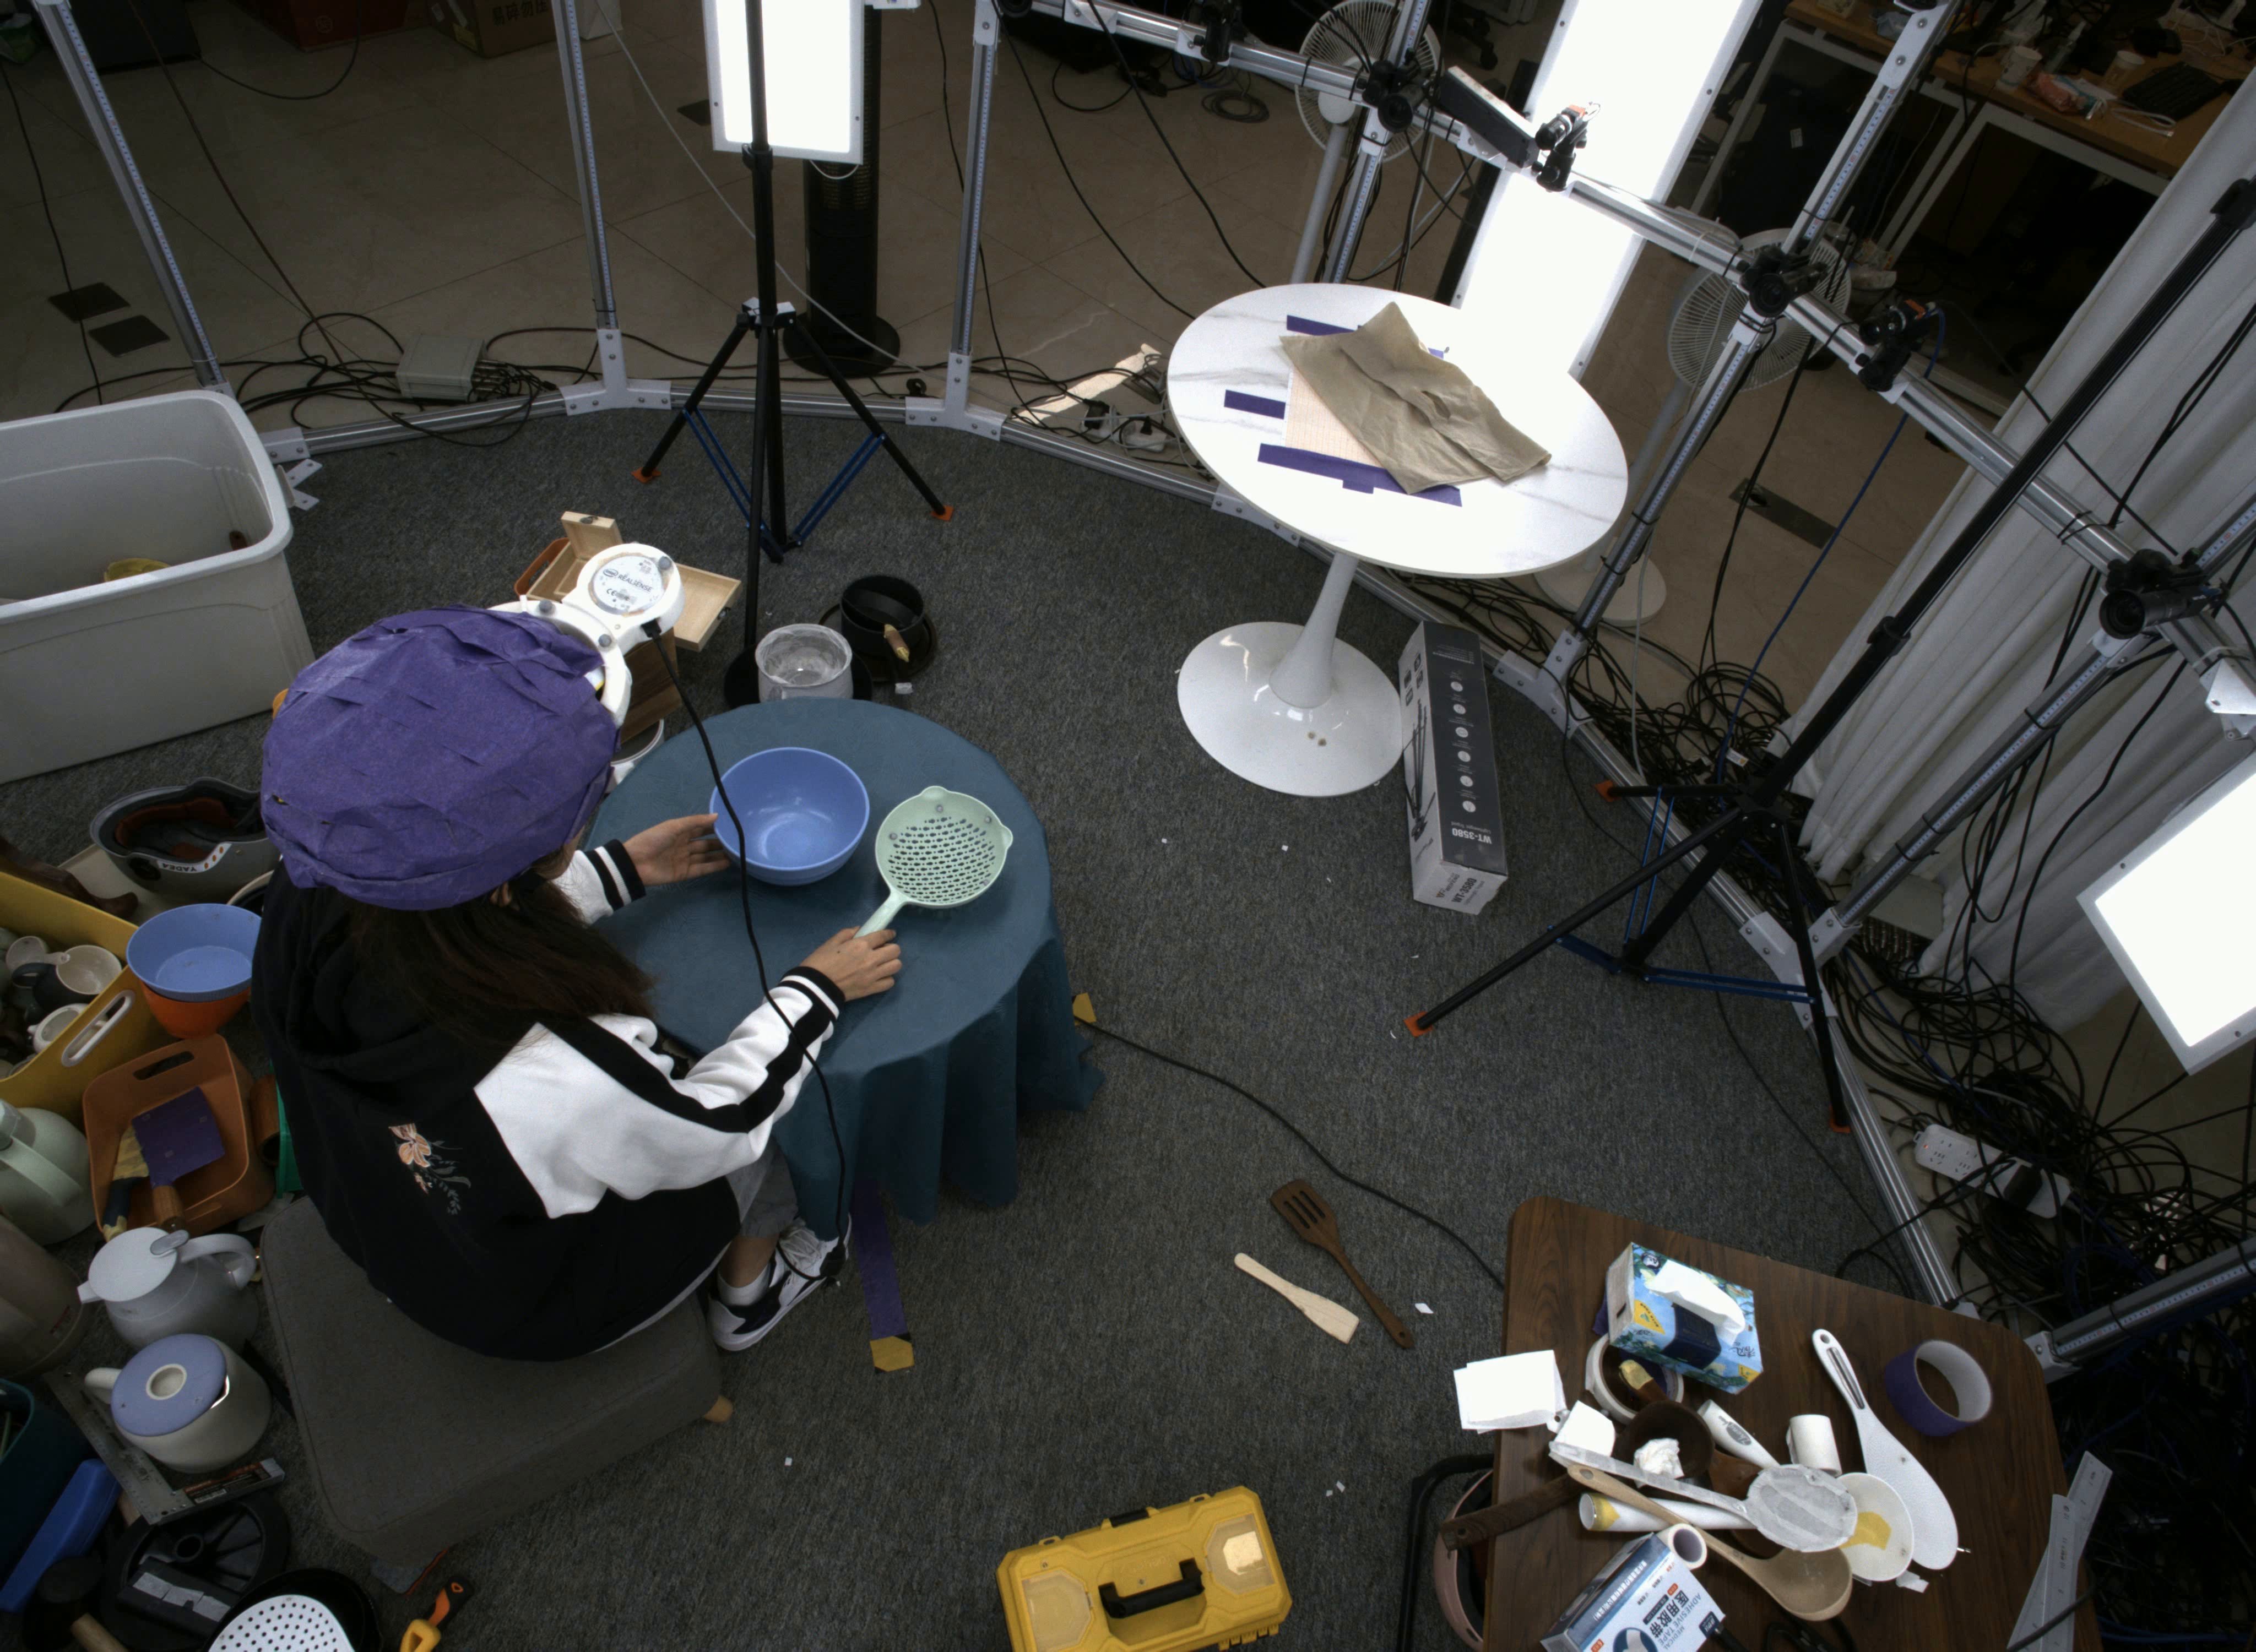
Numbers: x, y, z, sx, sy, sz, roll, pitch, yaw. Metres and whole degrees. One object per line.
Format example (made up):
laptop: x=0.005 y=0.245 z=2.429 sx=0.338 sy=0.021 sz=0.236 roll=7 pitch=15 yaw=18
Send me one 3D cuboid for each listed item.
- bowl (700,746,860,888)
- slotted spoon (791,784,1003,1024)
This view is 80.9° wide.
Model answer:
bowl: x=-0.441 y=0.003 z=1.651 sx=0.196 sy=0.097 sz=0.193 roll=8 pitch=52 yaw=-9
slotted spoon: x=-0.305 y=0.100 z=1.639 sx=0.166 sy=0.077 sz=0.358 roll=31 pitch=54 yaw=11
